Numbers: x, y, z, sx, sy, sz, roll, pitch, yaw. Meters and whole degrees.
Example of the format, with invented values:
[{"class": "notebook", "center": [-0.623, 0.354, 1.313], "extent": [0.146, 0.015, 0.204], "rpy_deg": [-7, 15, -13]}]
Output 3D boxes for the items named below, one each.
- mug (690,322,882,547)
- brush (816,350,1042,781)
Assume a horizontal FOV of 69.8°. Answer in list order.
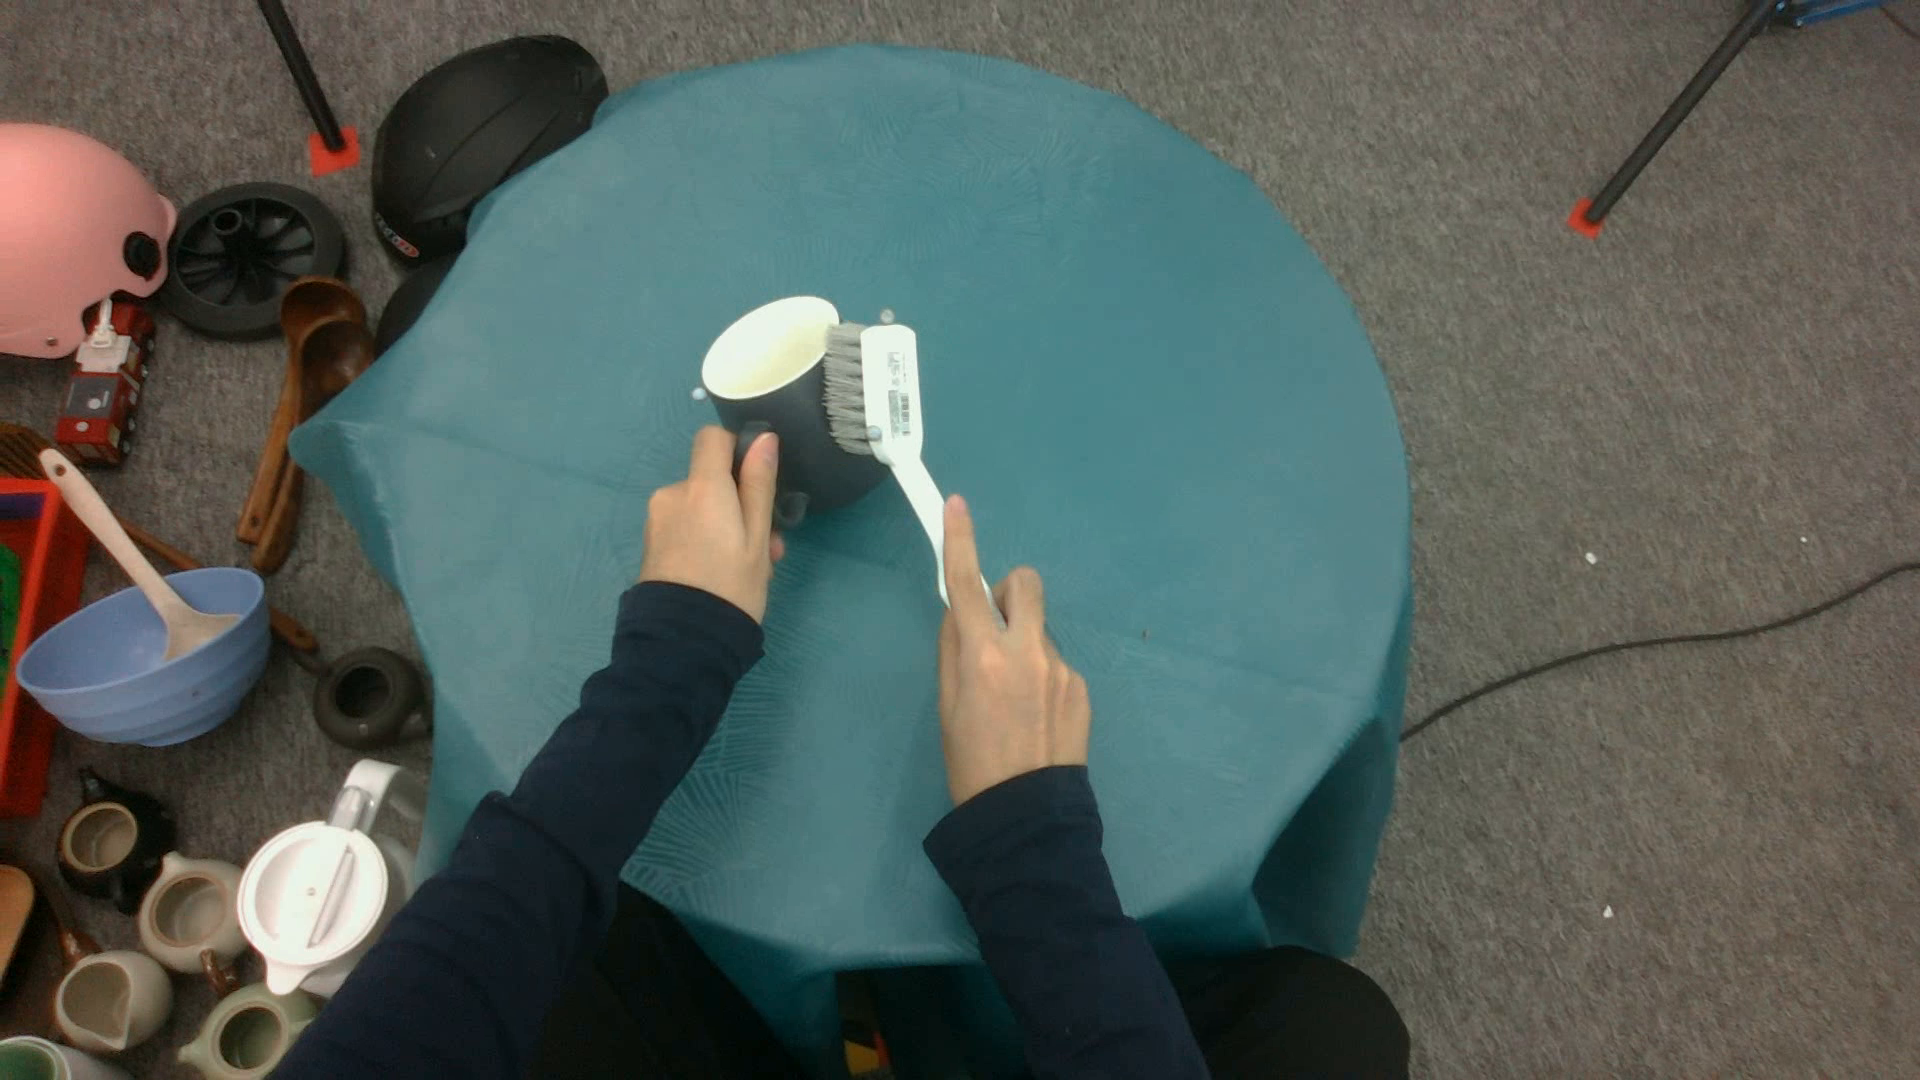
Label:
[{"class": "mug", "center": [-0.098, -0.051, 0.755], "extent": [0.093, 0.089, 0.124], "rpy_deg": [-4, 44, 26]}, {"class": "brush", "center": [-0.020, 0.013, 0.714], "extent": [0.034, 0.050, 0.243], "rpy_deg": [-18, 88, -60]}]
